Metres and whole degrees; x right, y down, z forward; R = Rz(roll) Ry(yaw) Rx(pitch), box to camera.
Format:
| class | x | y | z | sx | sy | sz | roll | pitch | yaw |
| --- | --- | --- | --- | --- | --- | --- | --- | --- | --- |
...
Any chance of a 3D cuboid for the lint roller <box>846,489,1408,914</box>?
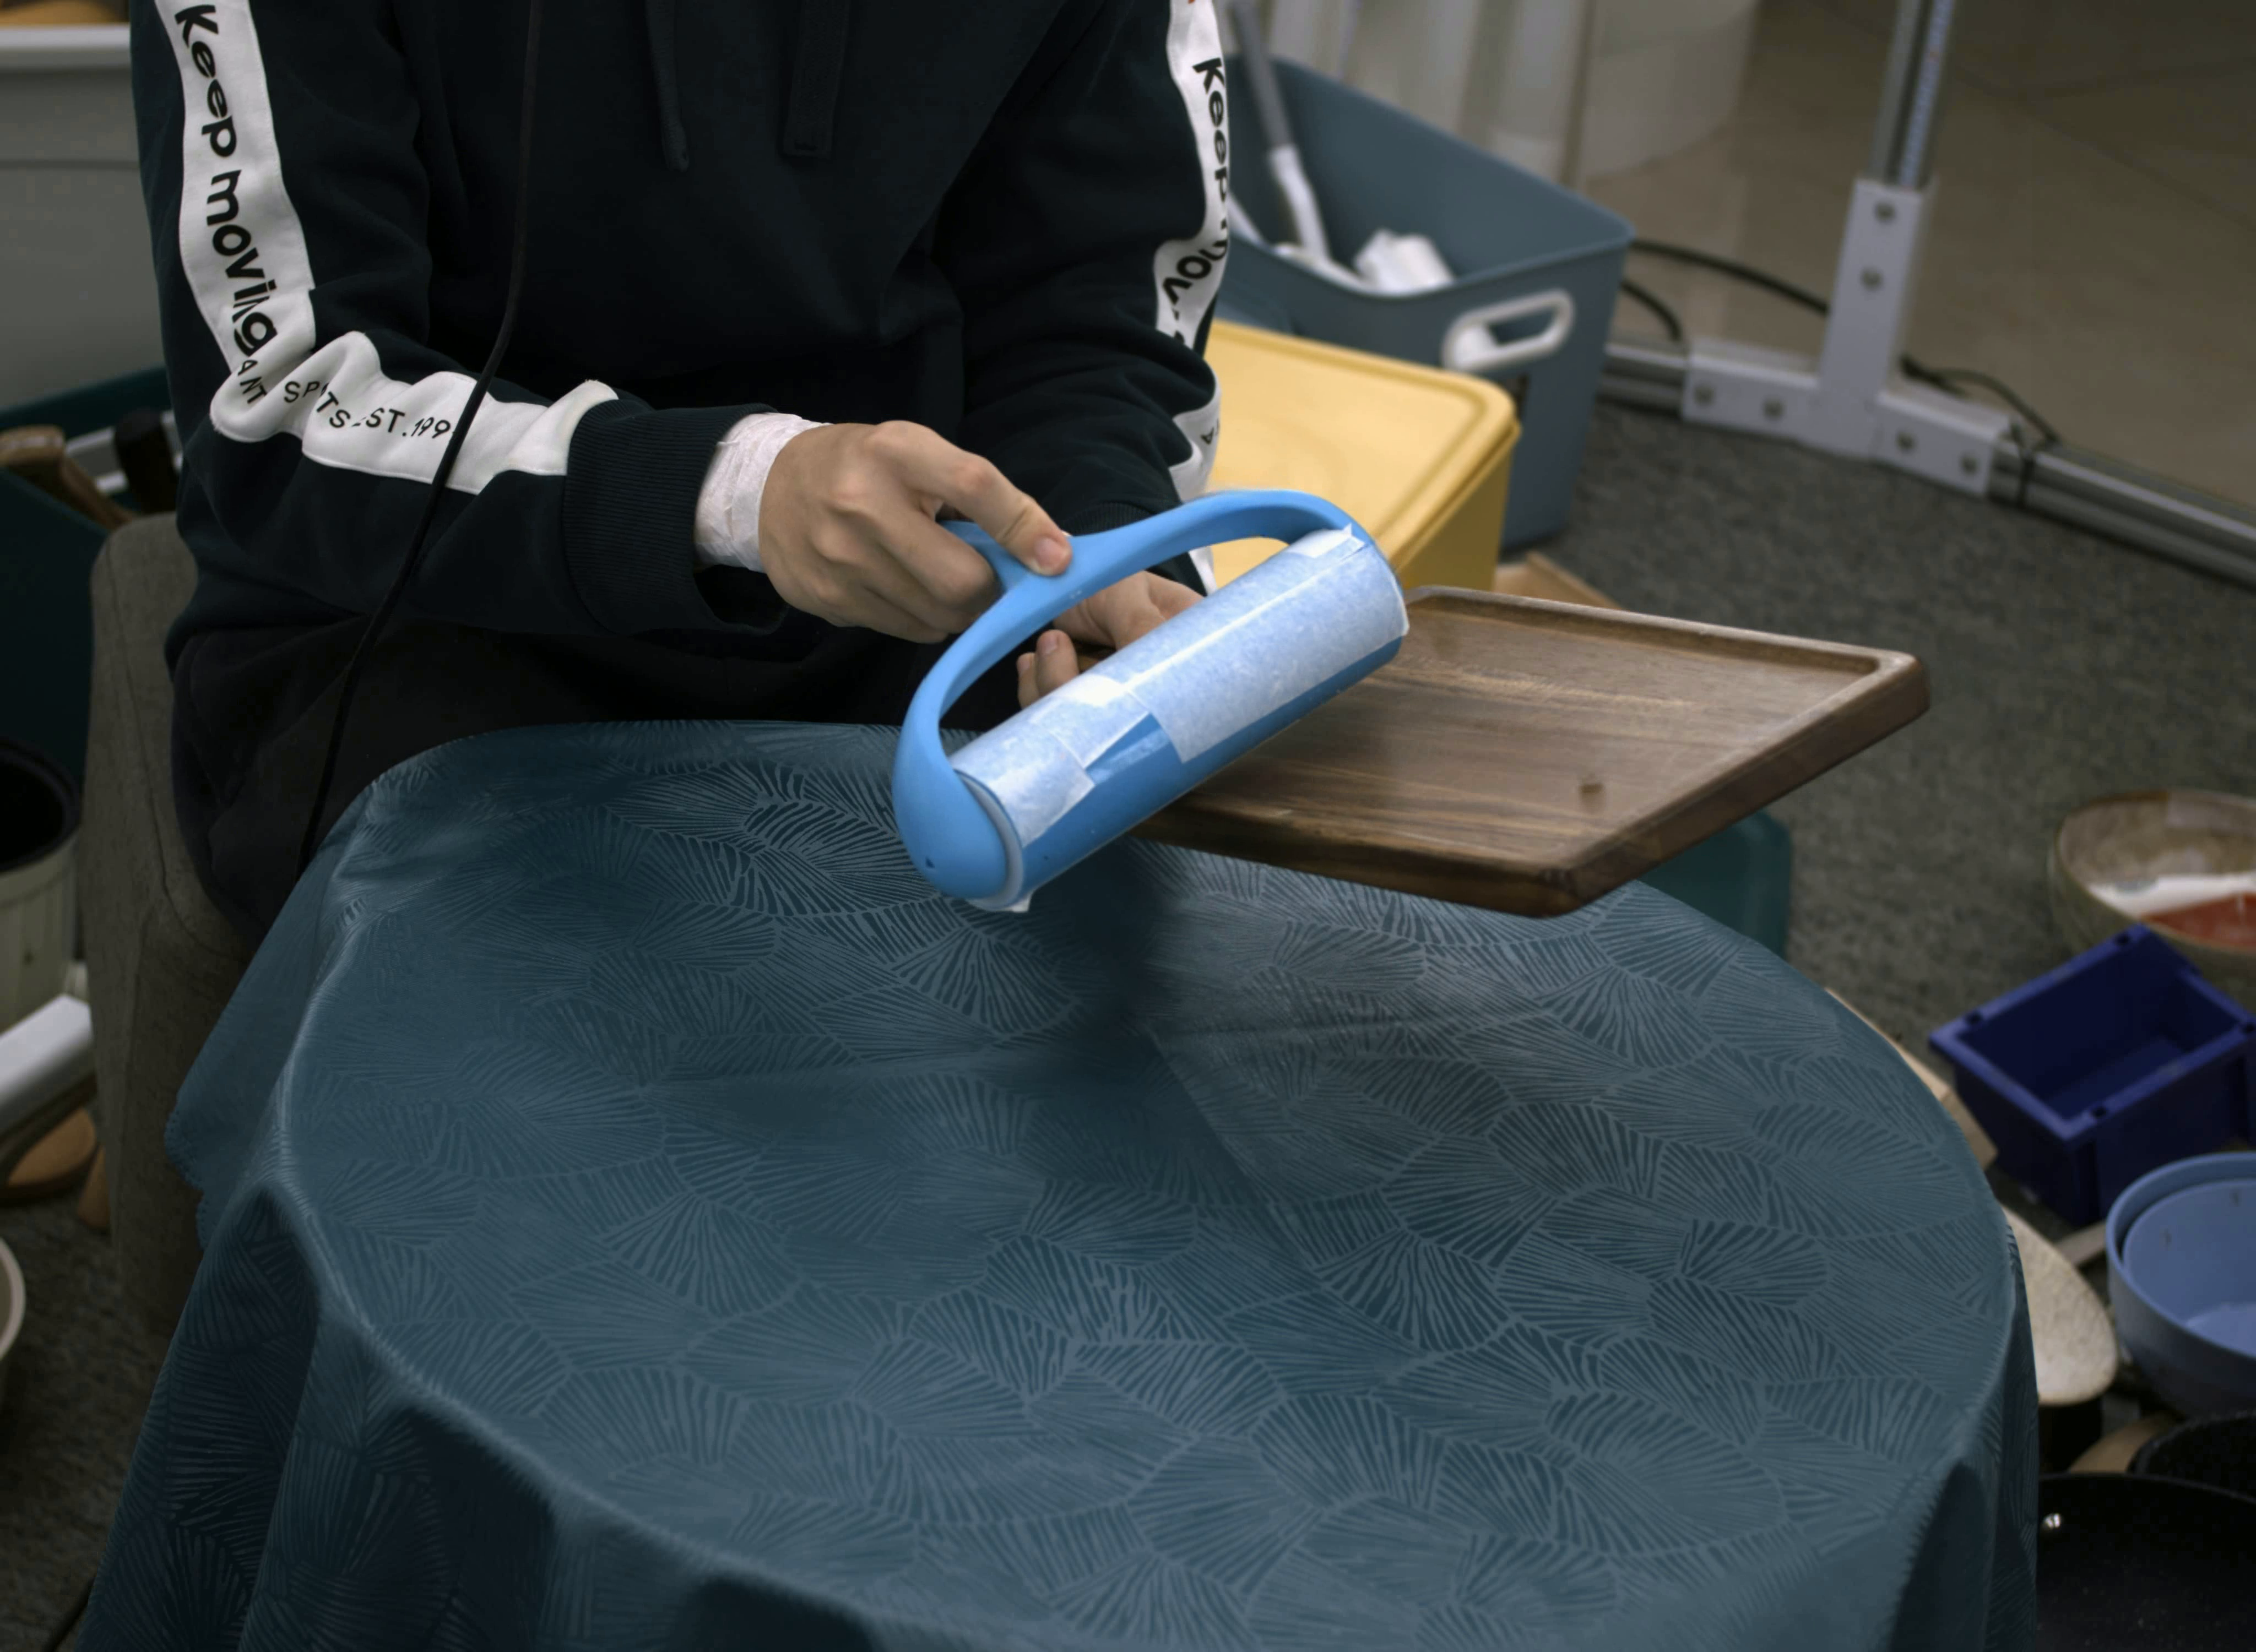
| class | x | y | z | sx | sy | sz | roll | pitch | yaw |
| --- | --- | --- | --- | --- | --- | --- | --- | --- | --- |
| lint roller | -0.031 | -0.066 | 1.845 | 0.181 | 0.067 | 0.228 | 31 | 49 | 28 |

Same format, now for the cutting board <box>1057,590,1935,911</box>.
| class | x | y | z | sx | sy | sz | roll | pitch | yaw |
| --- | --- | --- | --- | --- | --- | --- | --- | --- | --- |
| cutting board | 0.090 | -0.036 | 1.872 | 0.200 | 0.023 | 0.354 | -26 | 24 | -36 |
